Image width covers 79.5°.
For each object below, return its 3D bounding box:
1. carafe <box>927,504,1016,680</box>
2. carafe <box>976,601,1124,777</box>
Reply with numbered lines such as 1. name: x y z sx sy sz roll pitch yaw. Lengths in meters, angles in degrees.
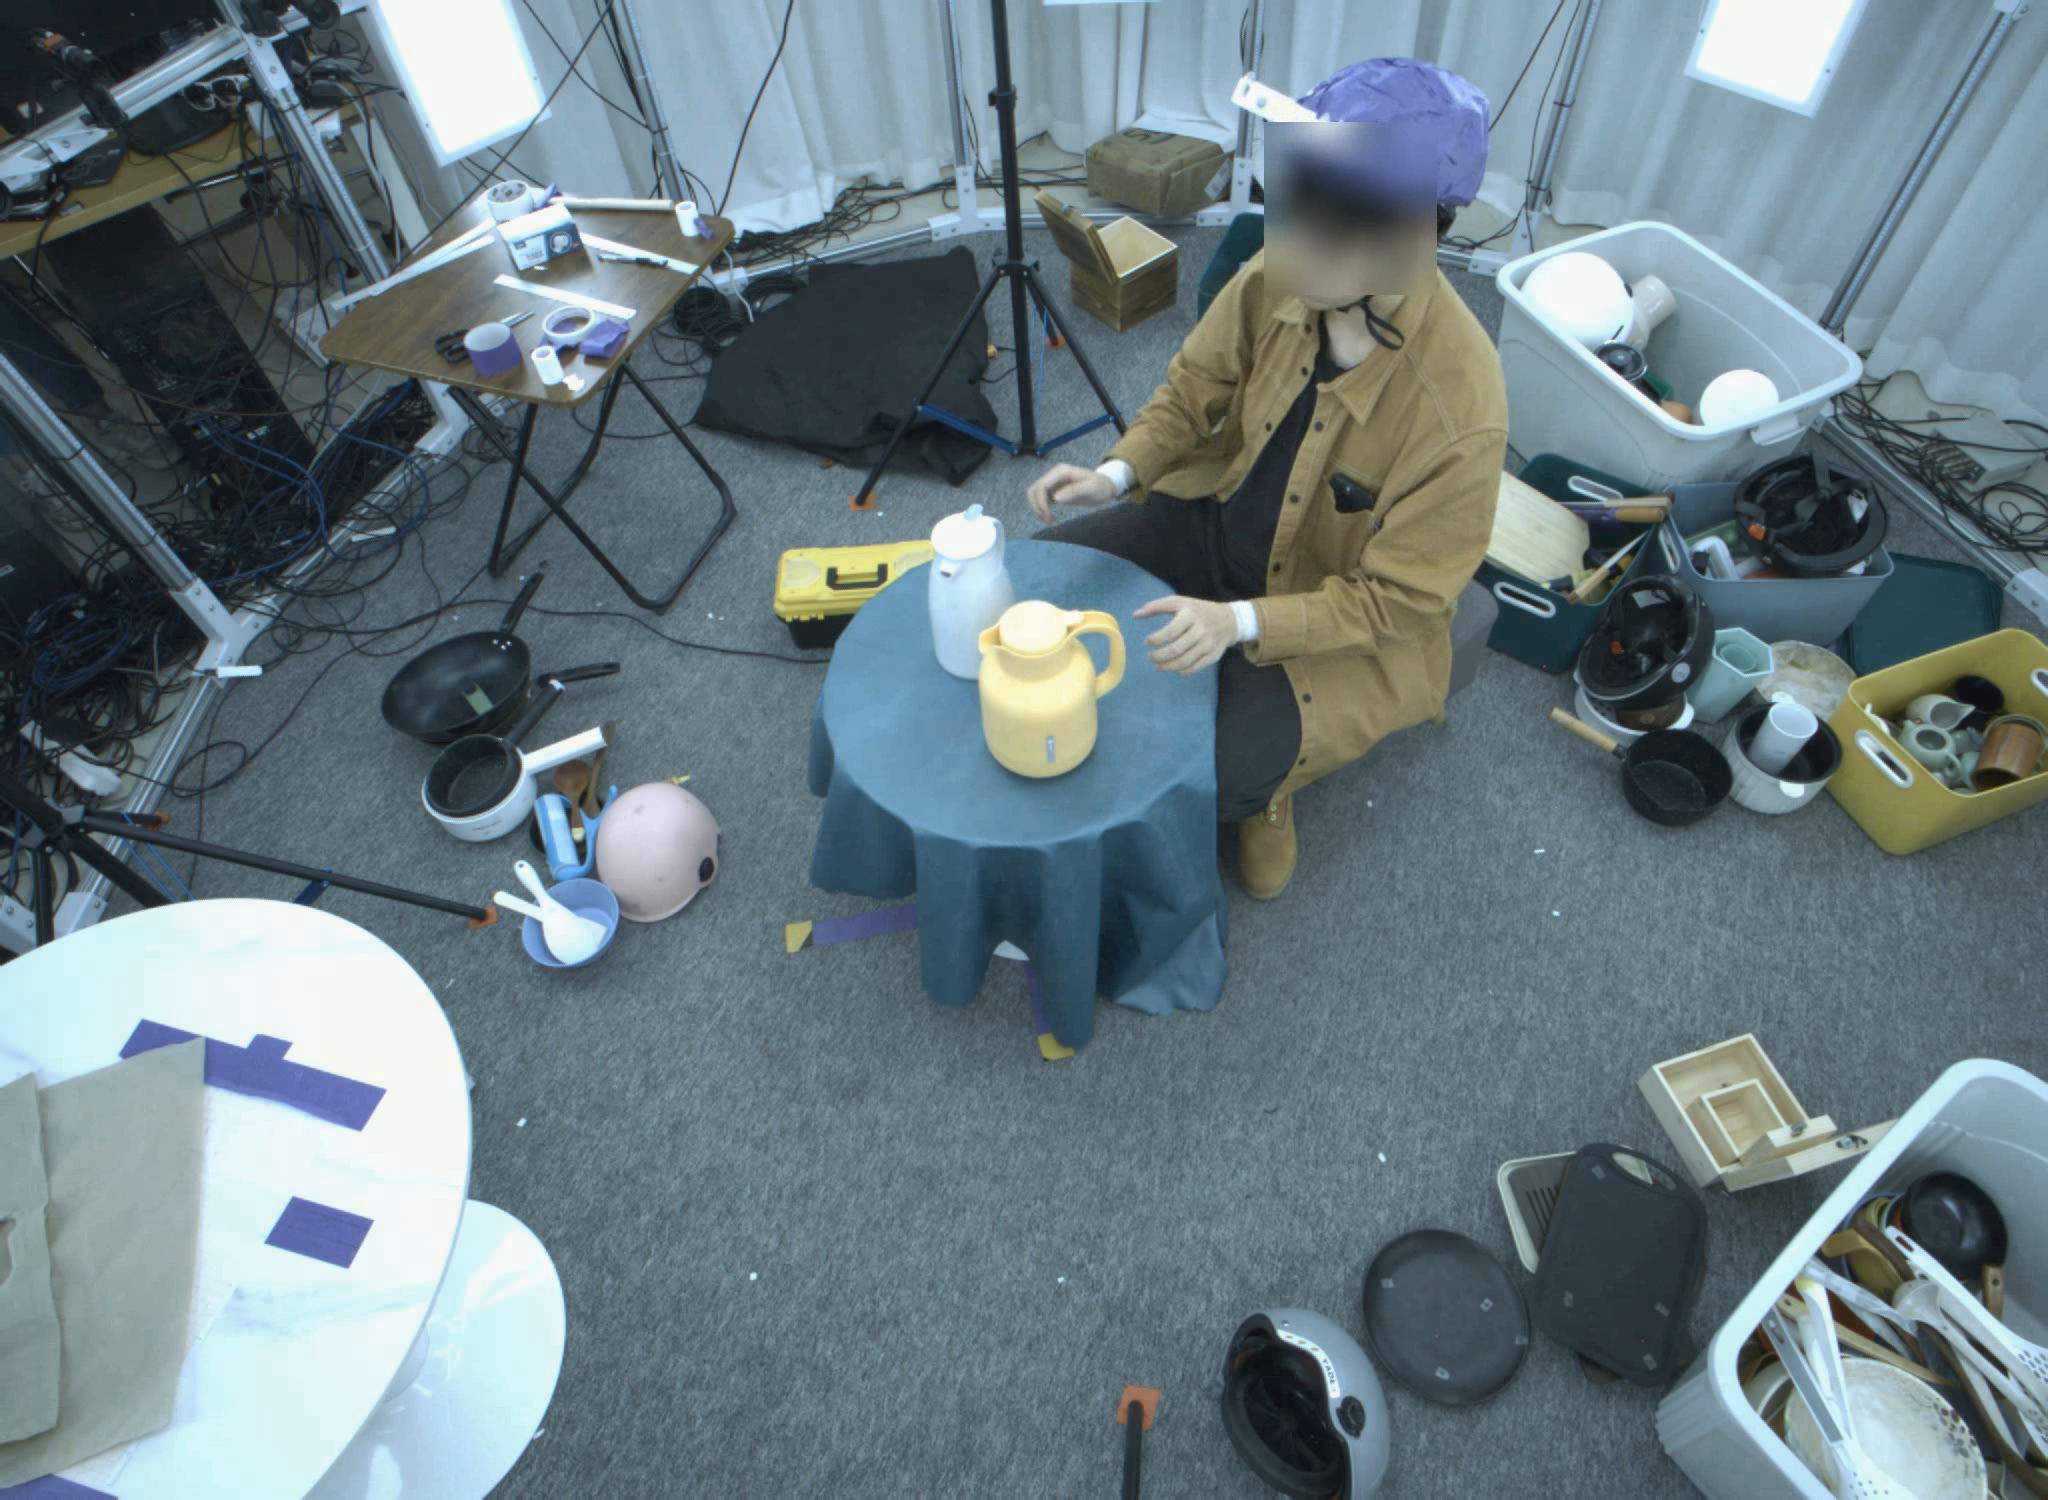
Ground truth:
1. carafe: -0.074 -0.246 1.808 0.131 0.251 0.167 16 56 15
2. carafe: 0.038 -0.091 1.687 0.203 0.263 0.161 -12 56 -4
